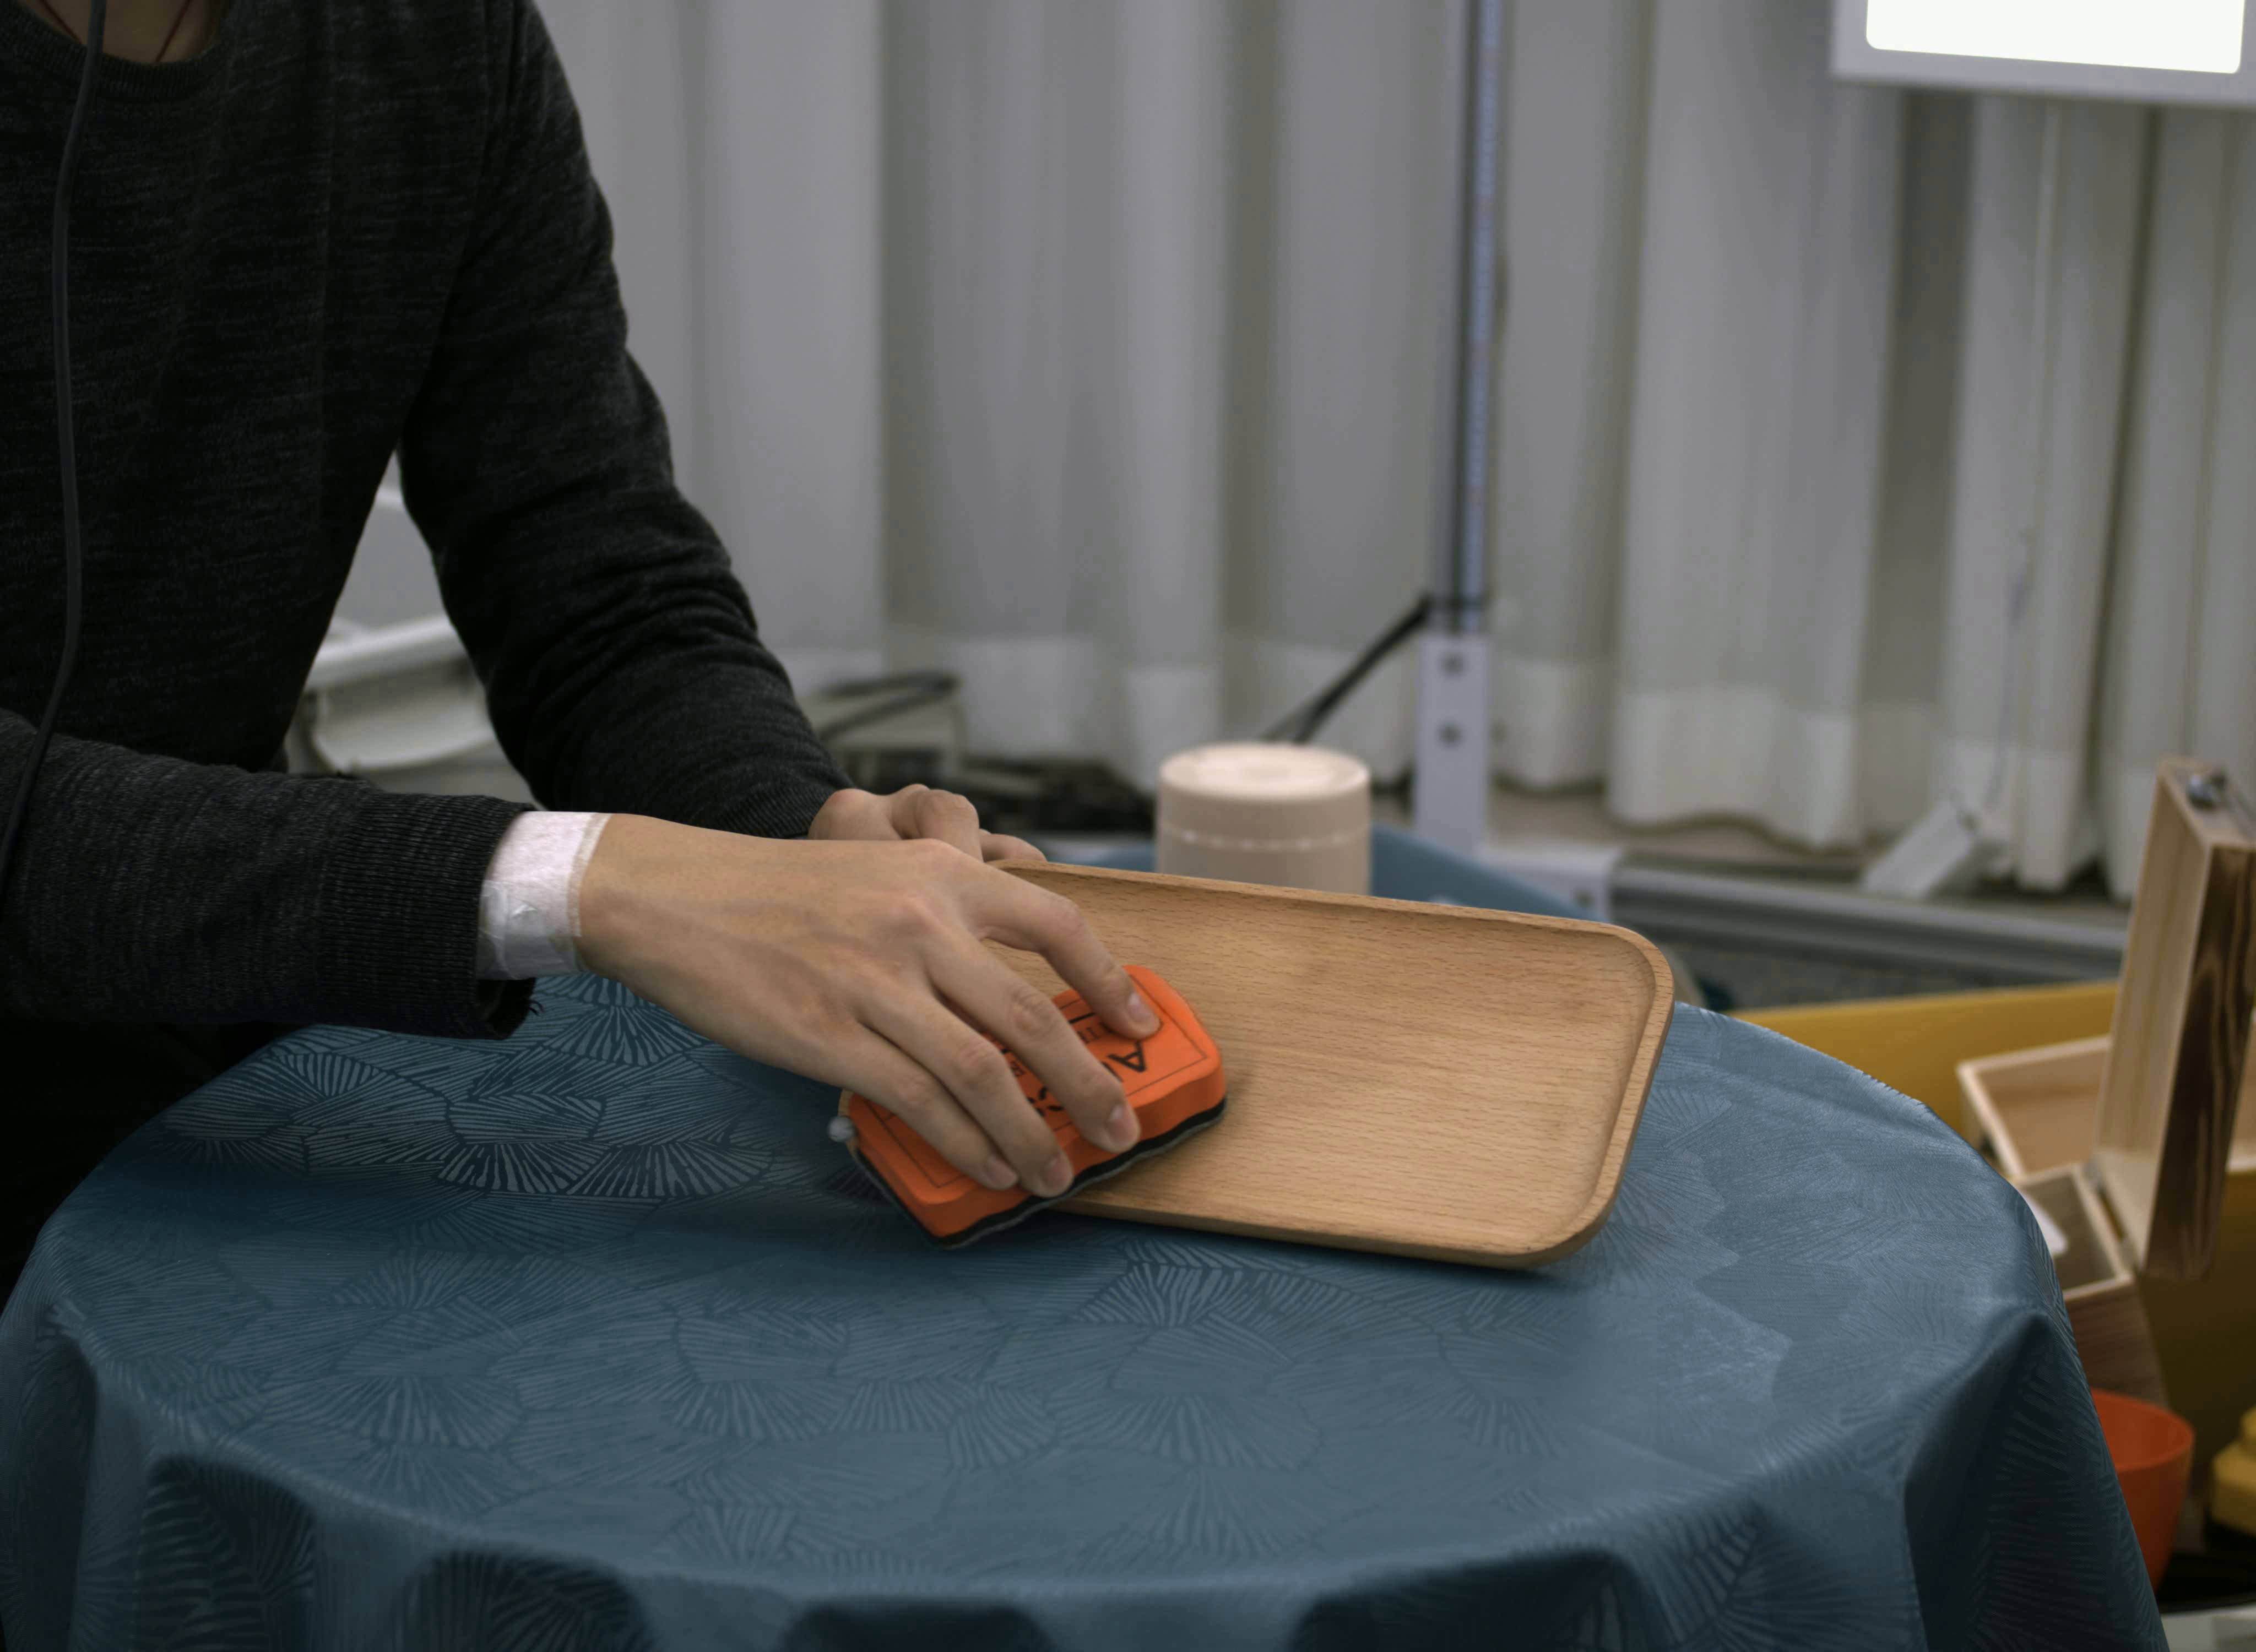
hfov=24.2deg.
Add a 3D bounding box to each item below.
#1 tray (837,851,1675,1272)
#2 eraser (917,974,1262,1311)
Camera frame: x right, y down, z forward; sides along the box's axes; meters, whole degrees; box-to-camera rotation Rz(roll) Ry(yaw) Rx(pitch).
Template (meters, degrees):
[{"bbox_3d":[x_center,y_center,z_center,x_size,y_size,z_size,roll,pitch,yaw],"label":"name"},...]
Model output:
[{"bbox_3d":[0.039,0.071,1.616,0.248,0.023,0.130,7,50,21],"label":"tray"},{"bbox_3d":[-0.011,0.095,1.585,0.058,0.023,0.108,24,57,31],"label":"eraser"}]
